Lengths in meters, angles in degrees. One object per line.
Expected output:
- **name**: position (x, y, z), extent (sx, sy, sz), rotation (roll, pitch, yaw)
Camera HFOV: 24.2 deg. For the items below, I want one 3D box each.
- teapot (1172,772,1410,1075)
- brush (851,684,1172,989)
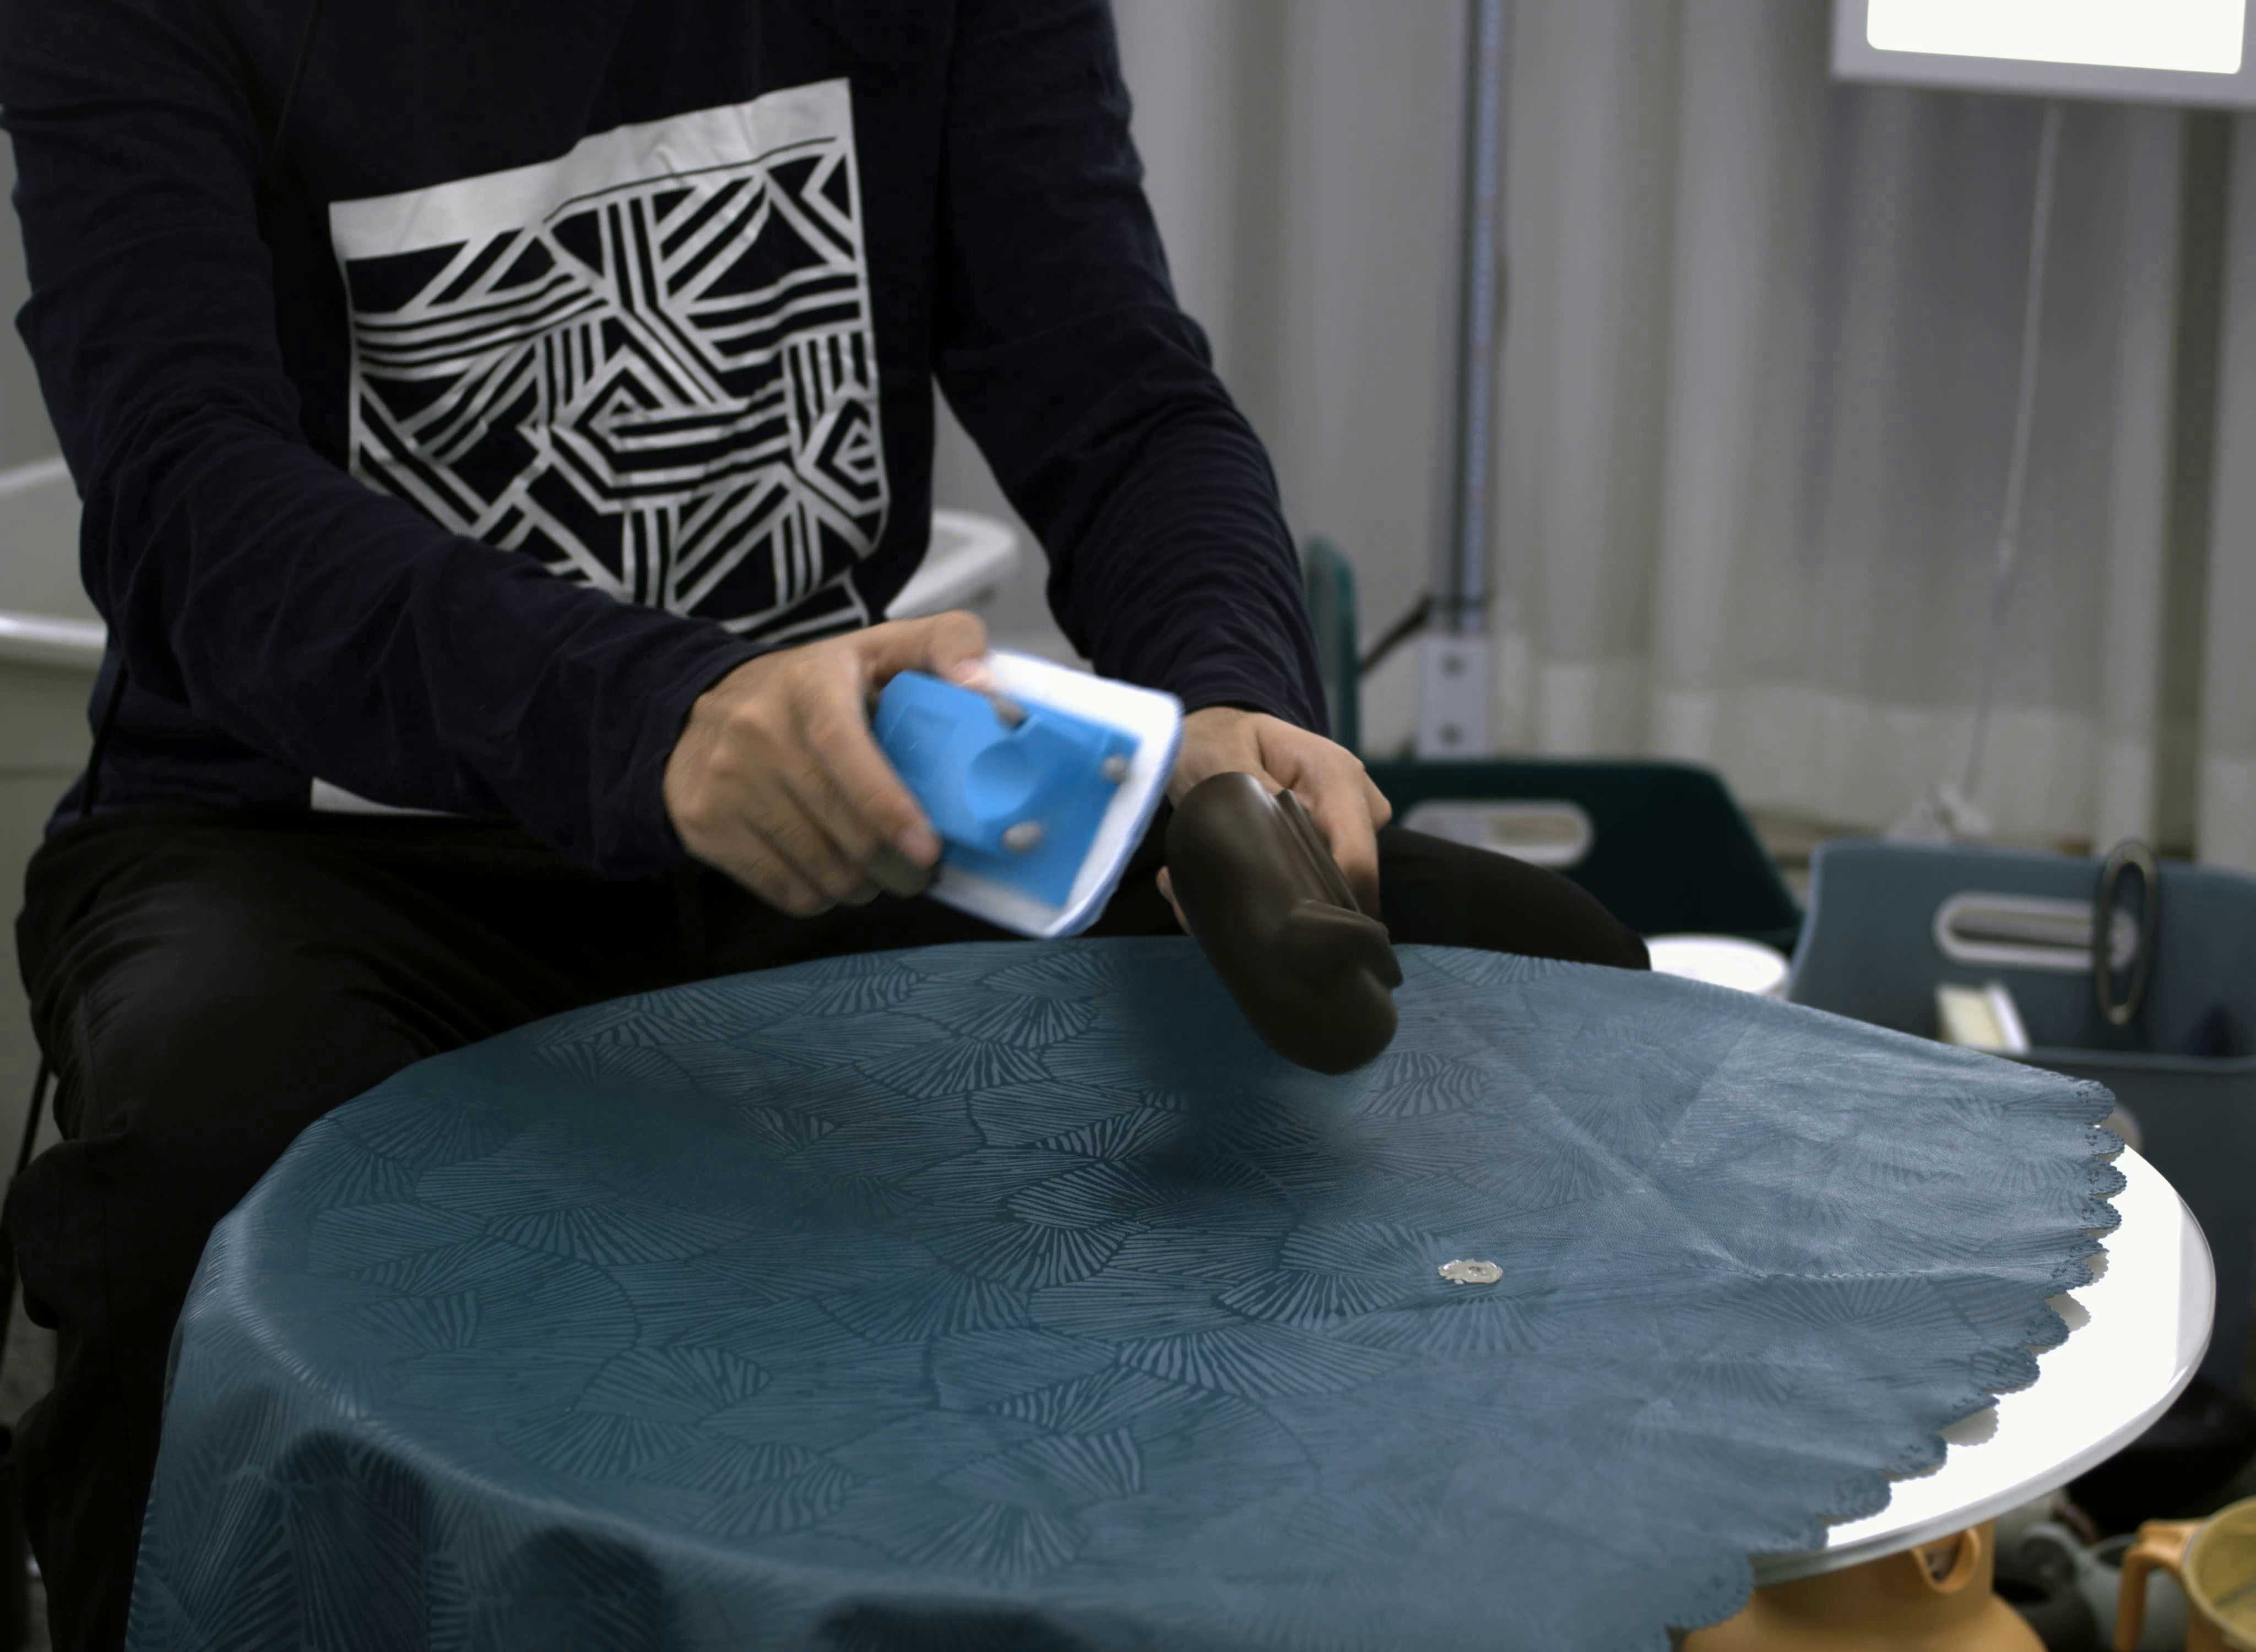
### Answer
- **teapot**: position (0.052, 0.028, 1.654), extent (0.054, 0.103, 0.152), rotation (-30, 19, 3)
- **brush**: position (-0.043, -0.002, 1.589), extent (0.056, 0.084, 0.142), rotation (34, -3, -26)
